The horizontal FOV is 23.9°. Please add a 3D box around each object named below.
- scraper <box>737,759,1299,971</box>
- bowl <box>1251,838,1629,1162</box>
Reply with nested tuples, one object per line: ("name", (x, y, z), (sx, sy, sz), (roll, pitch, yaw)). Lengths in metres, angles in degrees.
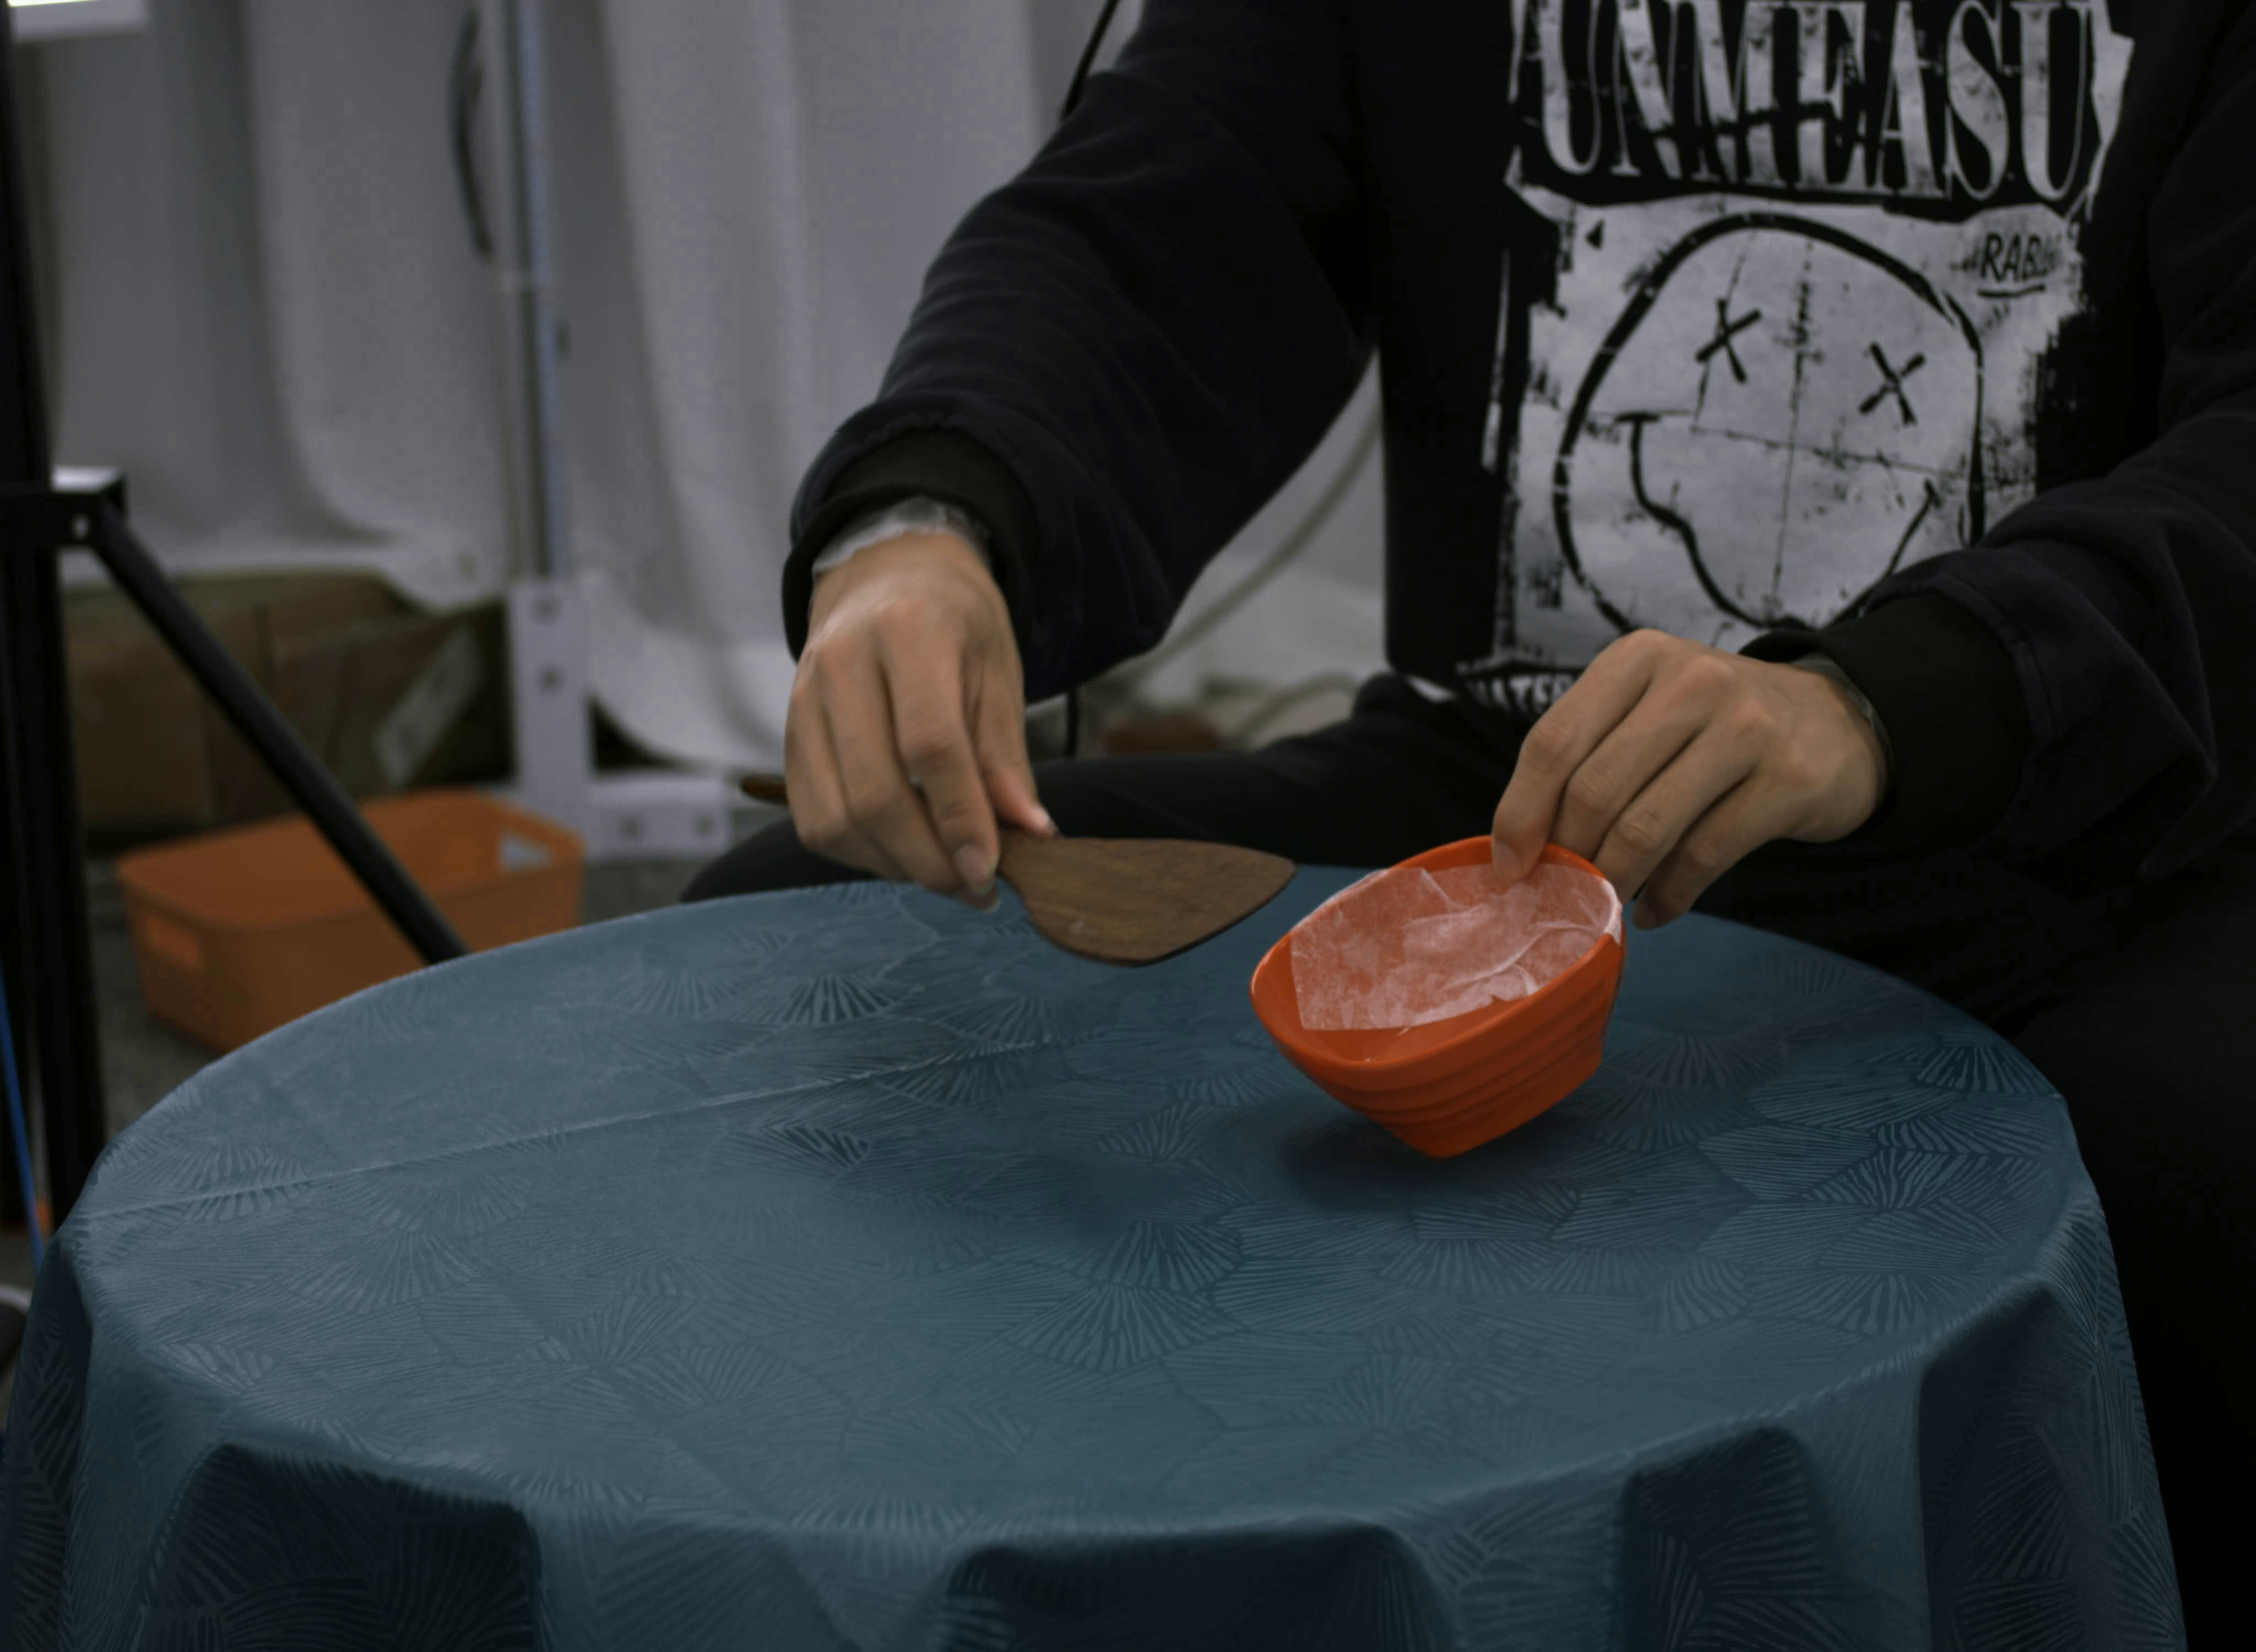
("scraper", (-0.042, 0.007, 1.607), (0.074, 0.011, 0.216), (-29, 31, -36))
("bowl", (0.100, 0.058, 1.589), (0.119, 0.051, 0.120), (-20, 27, 9))
